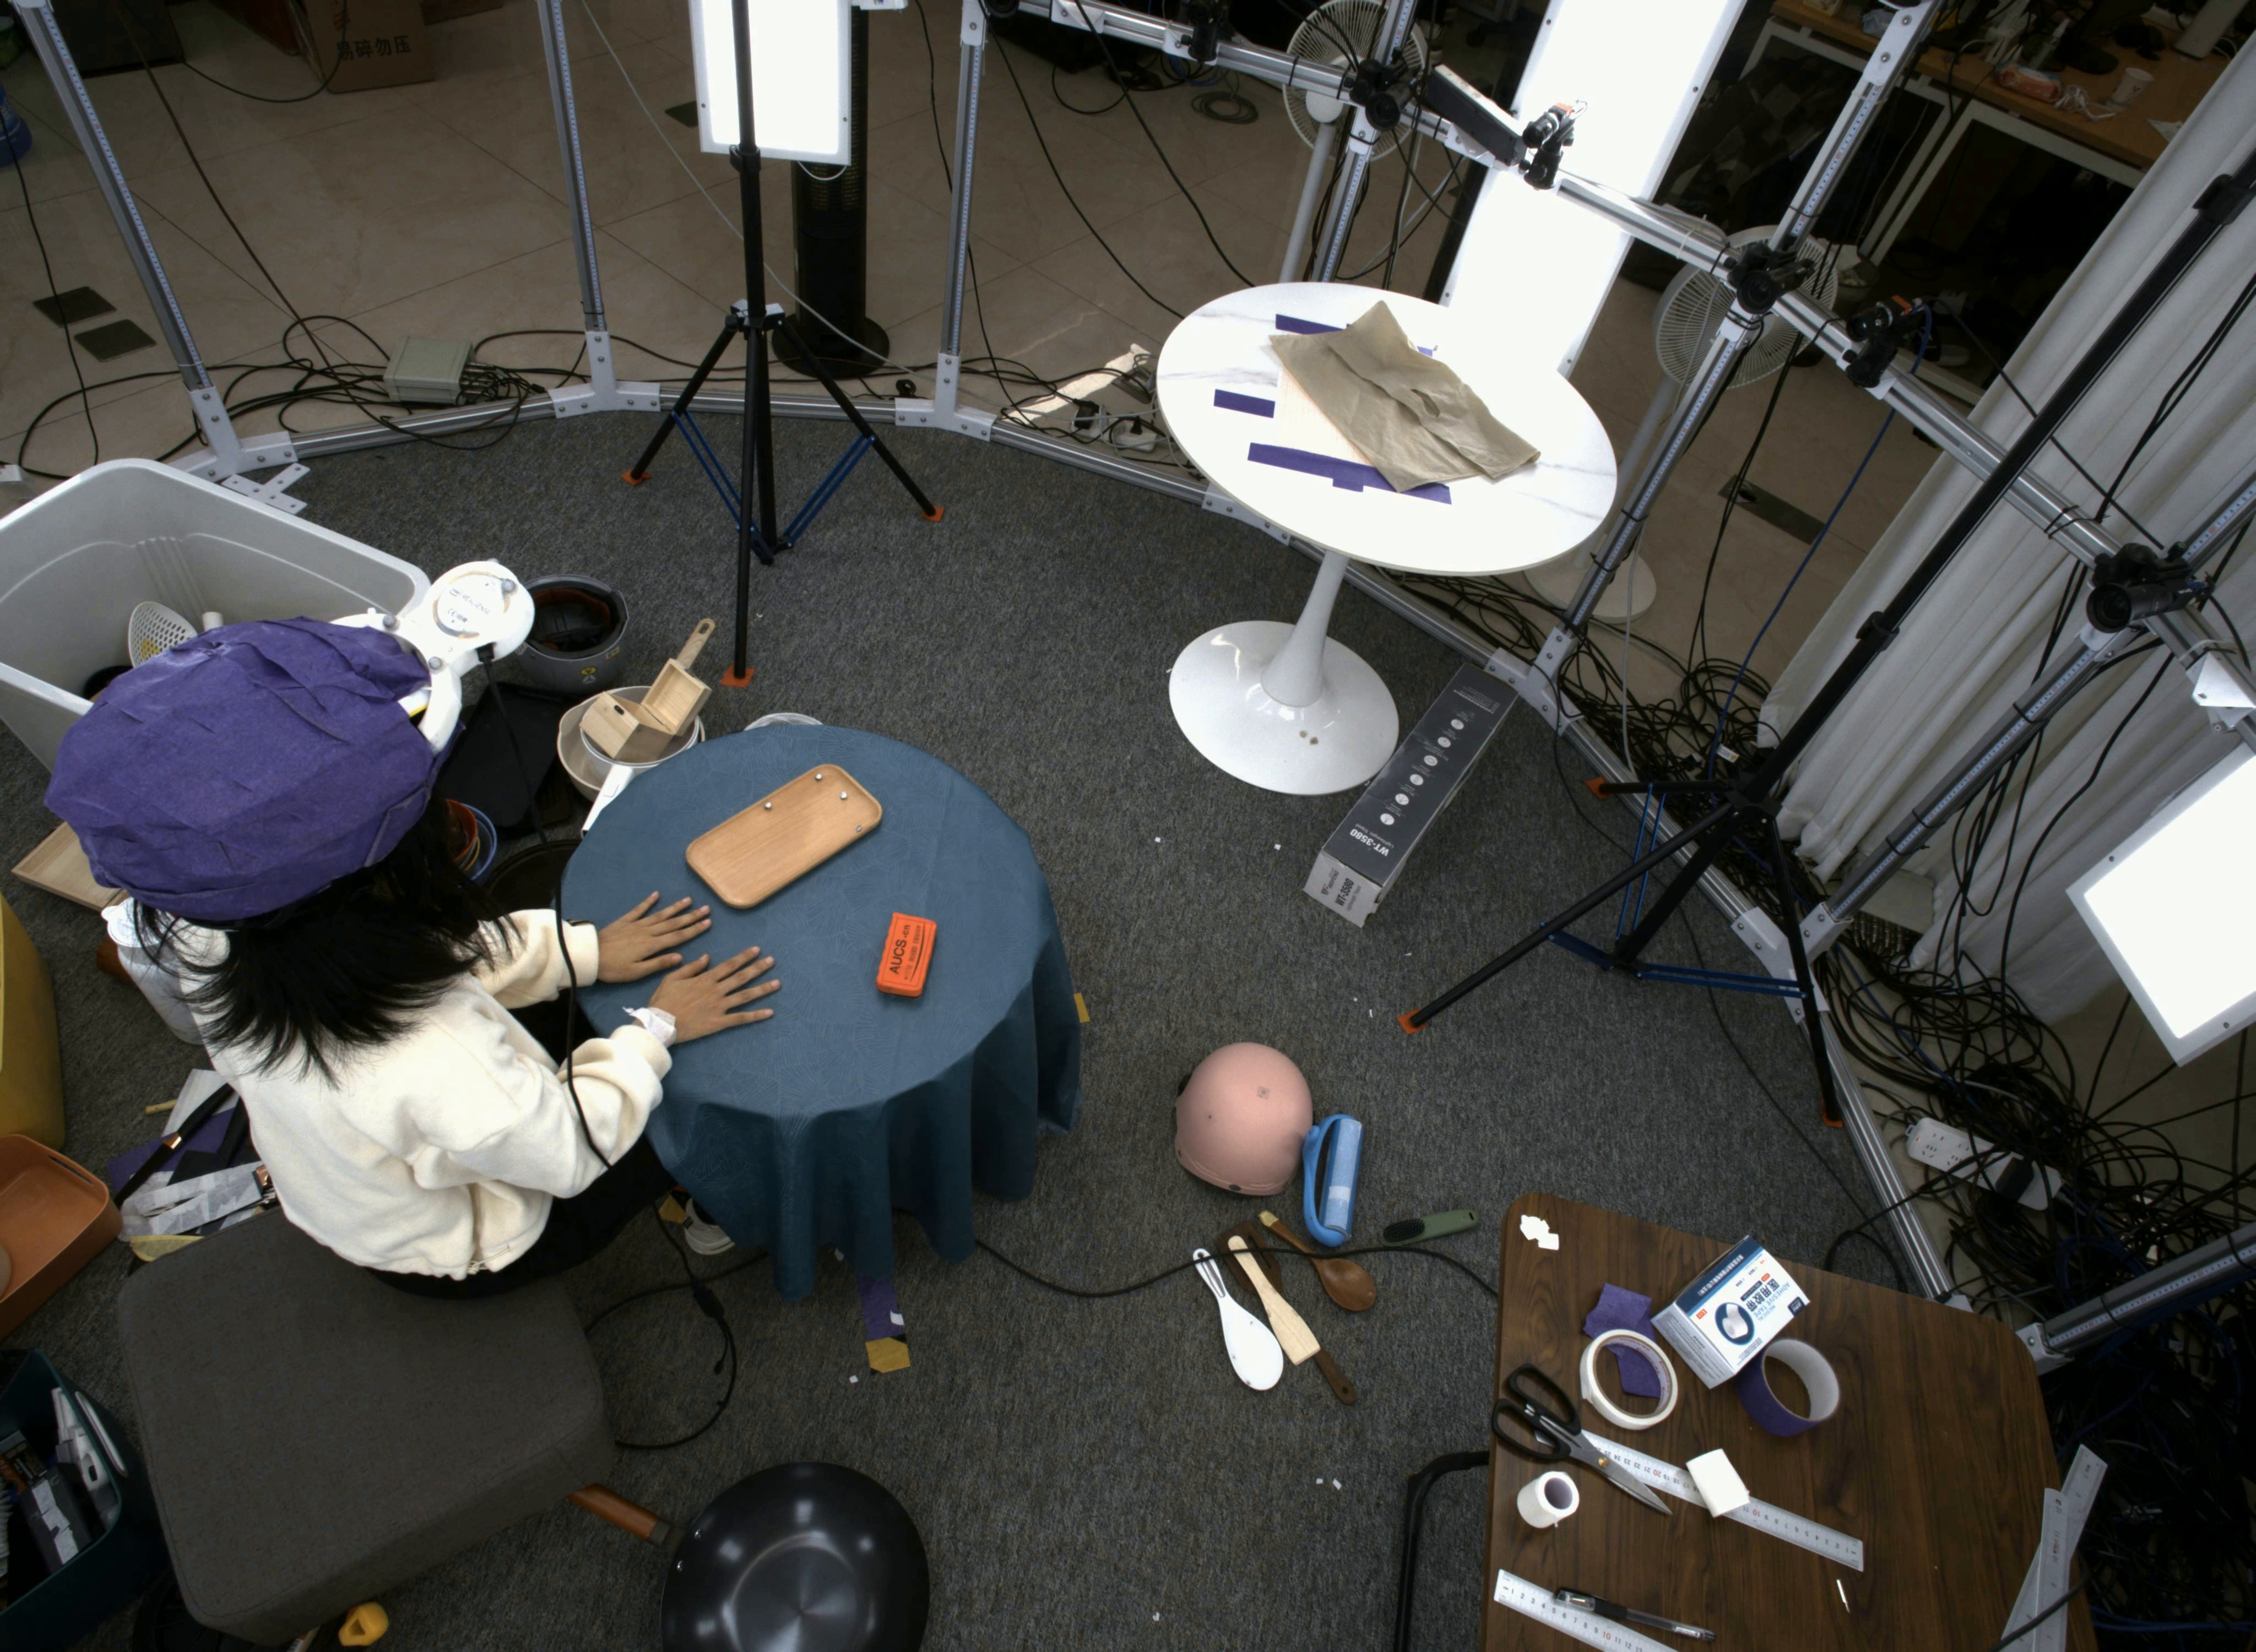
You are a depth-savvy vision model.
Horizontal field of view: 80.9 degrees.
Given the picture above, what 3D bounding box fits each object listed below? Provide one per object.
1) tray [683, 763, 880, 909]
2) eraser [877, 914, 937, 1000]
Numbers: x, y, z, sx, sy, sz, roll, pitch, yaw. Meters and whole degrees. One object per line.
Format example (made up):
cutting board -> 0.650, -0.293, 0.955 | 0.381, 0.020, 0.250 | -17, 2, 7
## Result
tray -> -0.450, 0.009, 1.693 | 0.127, 0.023, 0.251 | 41, 55, 20
eraser -> -0.275, 0.161, 1.623 | 0.059, 0.023, 0.106 | 12, 51, -6
